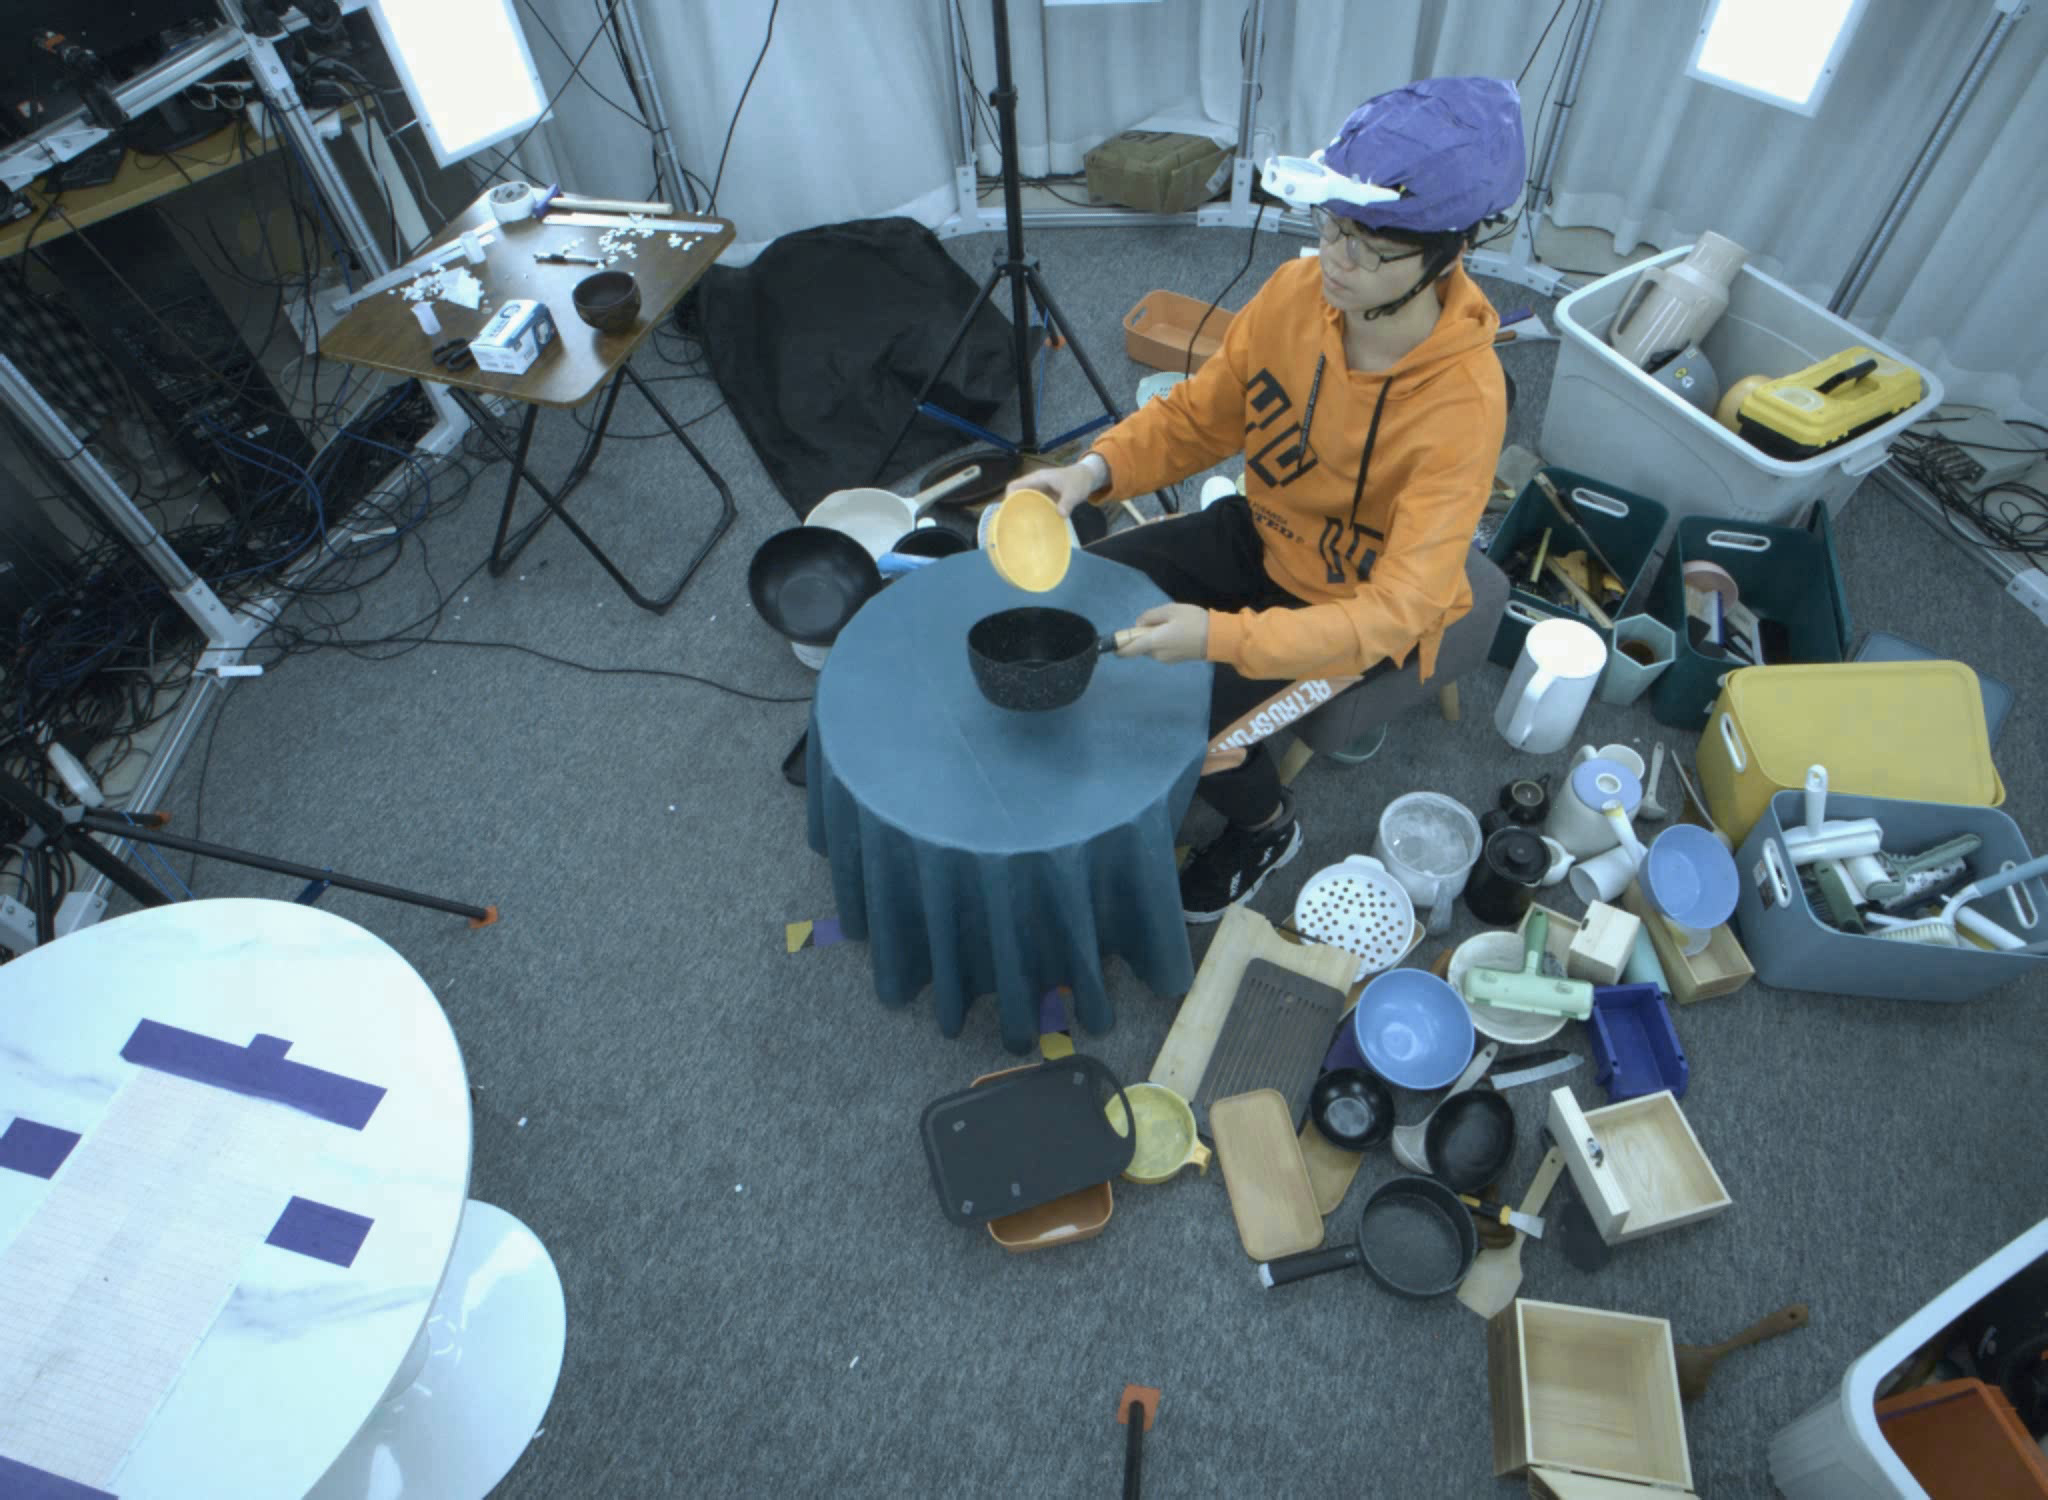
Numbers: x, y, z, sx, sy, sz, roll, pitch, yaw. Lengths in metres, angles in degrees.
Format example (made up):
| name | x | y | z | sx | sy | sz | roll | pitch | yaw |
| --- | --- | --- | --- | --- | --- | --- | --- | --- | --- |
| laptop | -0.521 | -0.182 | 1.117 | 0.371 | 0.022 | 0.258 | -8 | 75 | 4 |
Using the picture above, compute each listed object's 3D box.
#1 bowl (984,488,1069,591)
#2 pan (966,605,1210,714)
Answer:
| name | x | y | z | sx | sy | sz | roll | pitch | yaw |
| --- | --- | --- | --- | --- | --- | --- | --- | --- | --- |
| bowl | -0.009 | -0.293 | 1.731 | 0.059 | 0.148 | 0.145 | -2 | 45 | 47 |
| pan | 0.091 | -0.138 | 1.741 | 0.344 | 0.109 | 0.205 | -4 | 32 | -3 |
